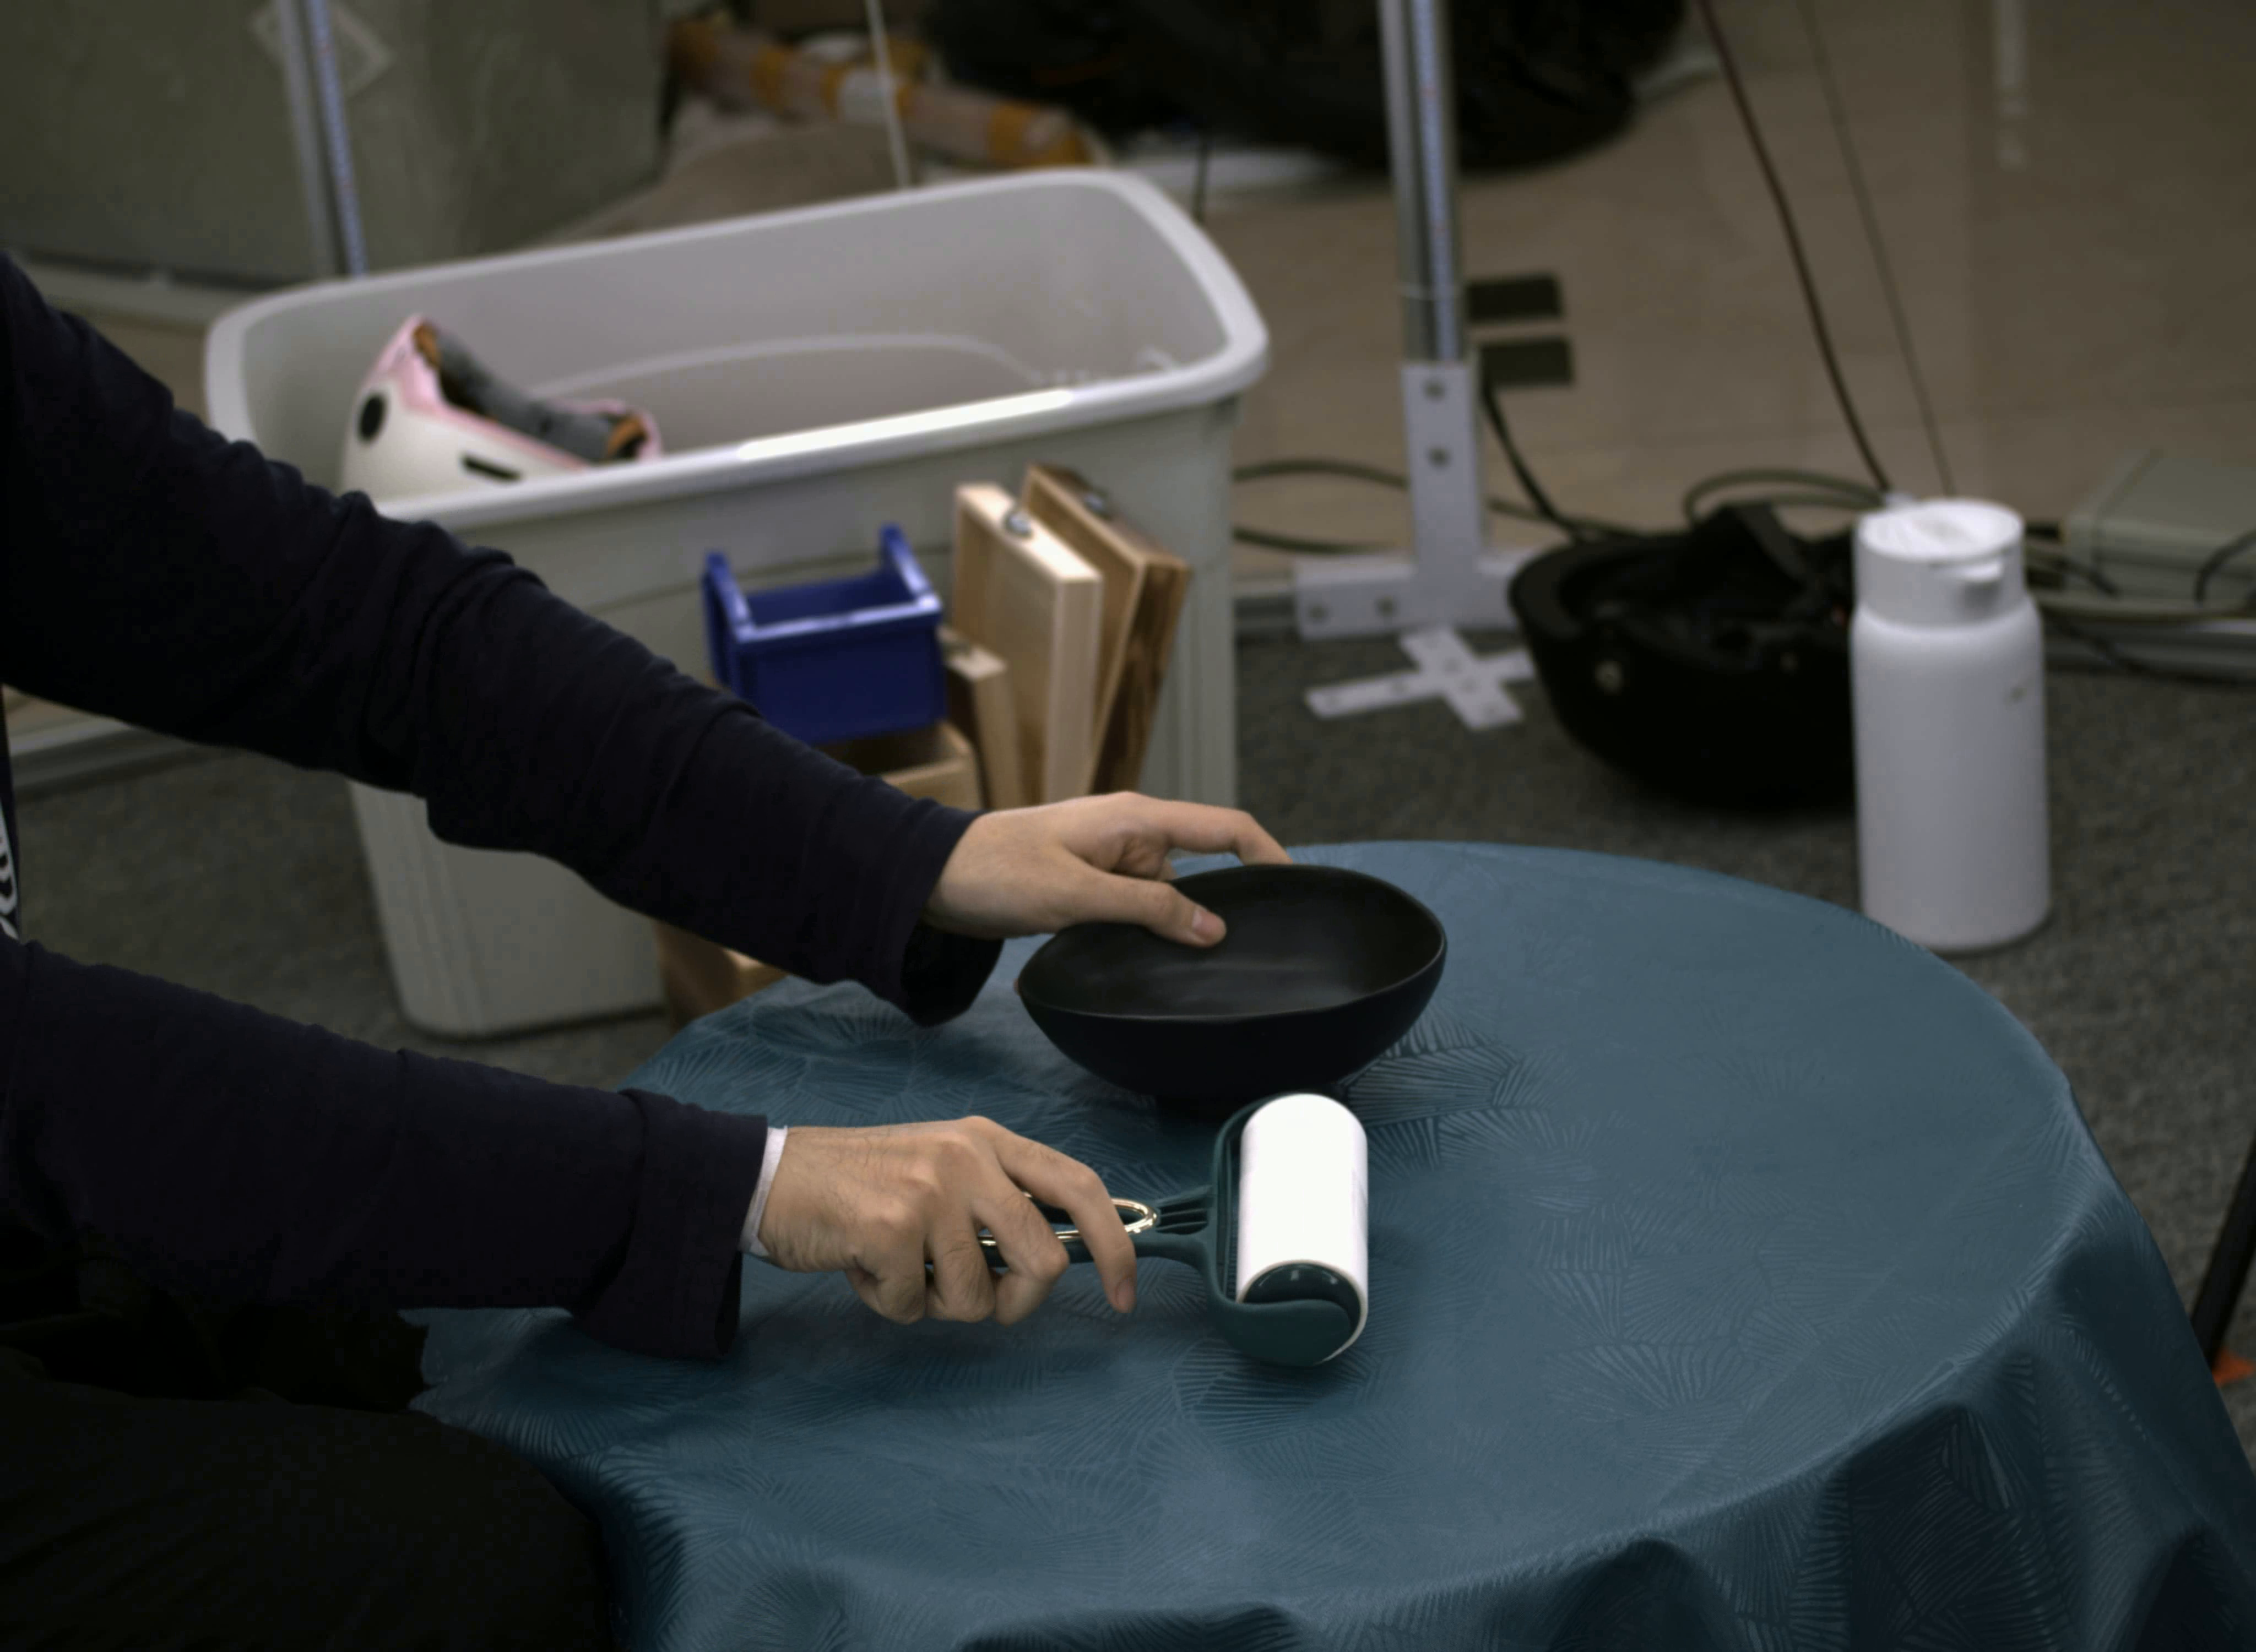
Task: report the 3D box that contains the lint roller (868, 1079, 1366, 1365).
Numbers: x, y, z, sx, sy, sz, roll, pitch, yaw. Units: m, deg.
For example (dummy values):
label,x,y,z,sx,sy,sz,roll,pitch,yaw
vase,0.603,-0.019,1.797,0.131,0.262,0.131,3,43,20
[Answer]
label,x,y,z,sx,sy,sz,roll,pitch,yaw
lint roller,-0.005,0.142,2.049,0.180,0.049,0.132,1,35,1

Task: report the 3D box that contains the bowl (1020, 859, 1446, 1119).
label,x,y,z,sx,sy,sz,roll,pitch,yaw
bowl,0.042,0.072,2.209,0.170,0.068,0.135,-3,25,12
